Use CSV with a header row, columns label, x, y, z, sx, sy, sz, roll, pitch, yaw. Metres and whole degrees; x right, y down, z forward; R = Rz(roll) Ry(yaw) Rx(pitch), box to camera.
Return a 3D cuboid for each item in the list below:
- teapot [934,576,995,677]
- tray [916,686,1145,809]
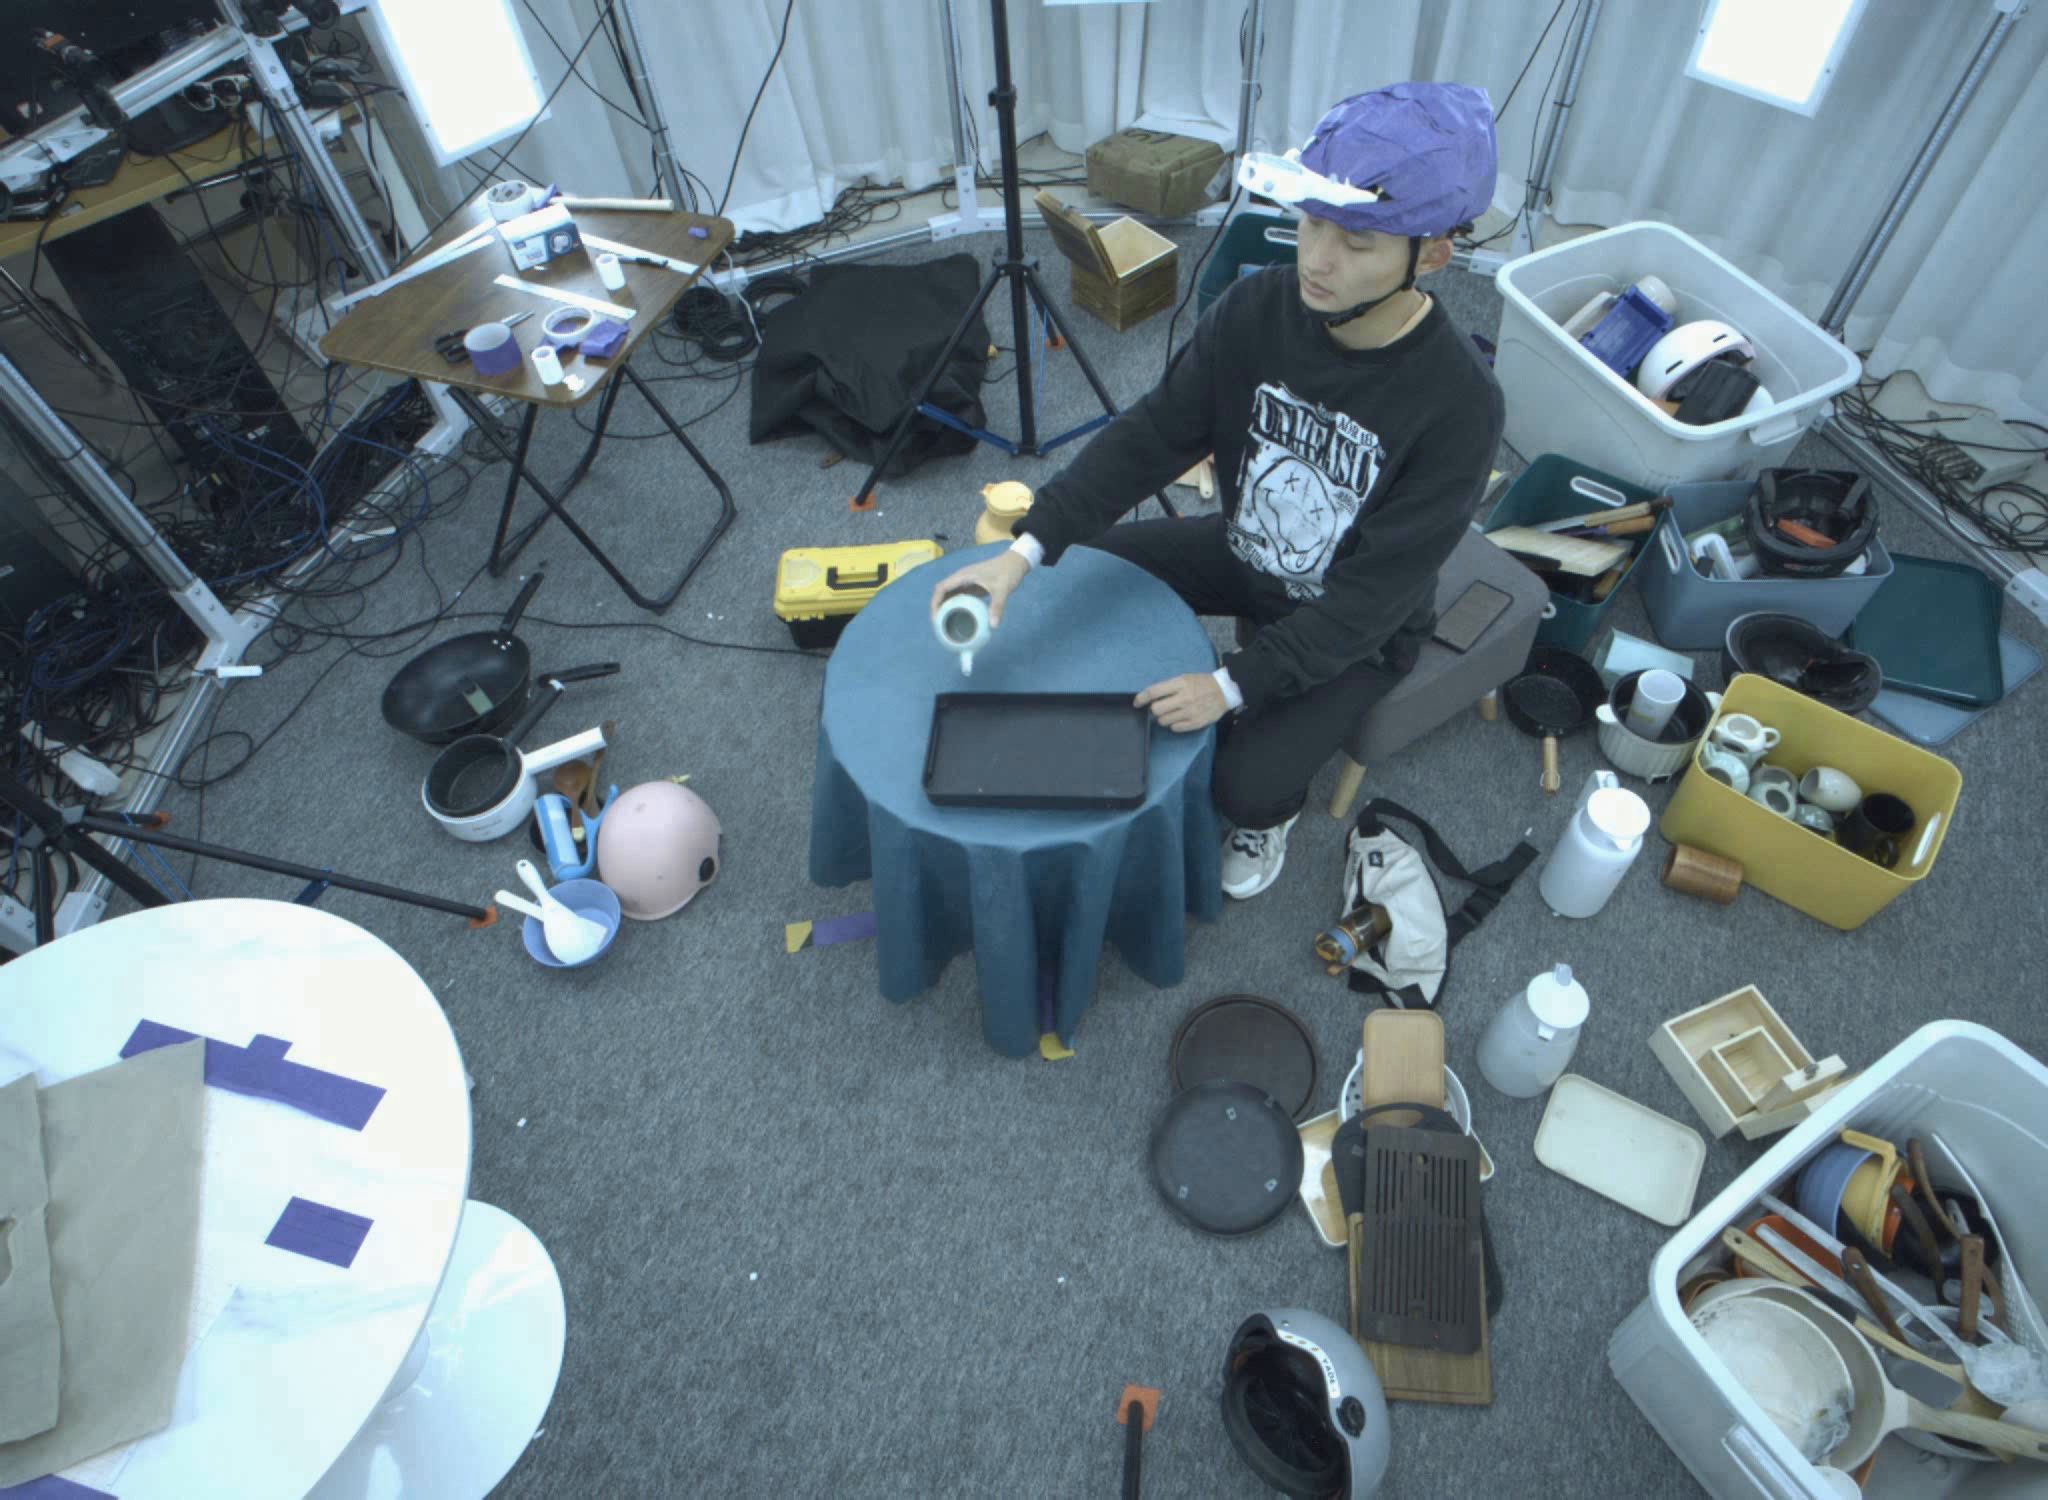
label,x,y,z,sx,sy,sz,roll,pitch,yaw
teapot,-0.086,-0.180,1.764,0.088,0.144,0.075,-6,11,9
tray,0.013,-0.004,1.750,0.317,0.037,0.182,-1,56,6
